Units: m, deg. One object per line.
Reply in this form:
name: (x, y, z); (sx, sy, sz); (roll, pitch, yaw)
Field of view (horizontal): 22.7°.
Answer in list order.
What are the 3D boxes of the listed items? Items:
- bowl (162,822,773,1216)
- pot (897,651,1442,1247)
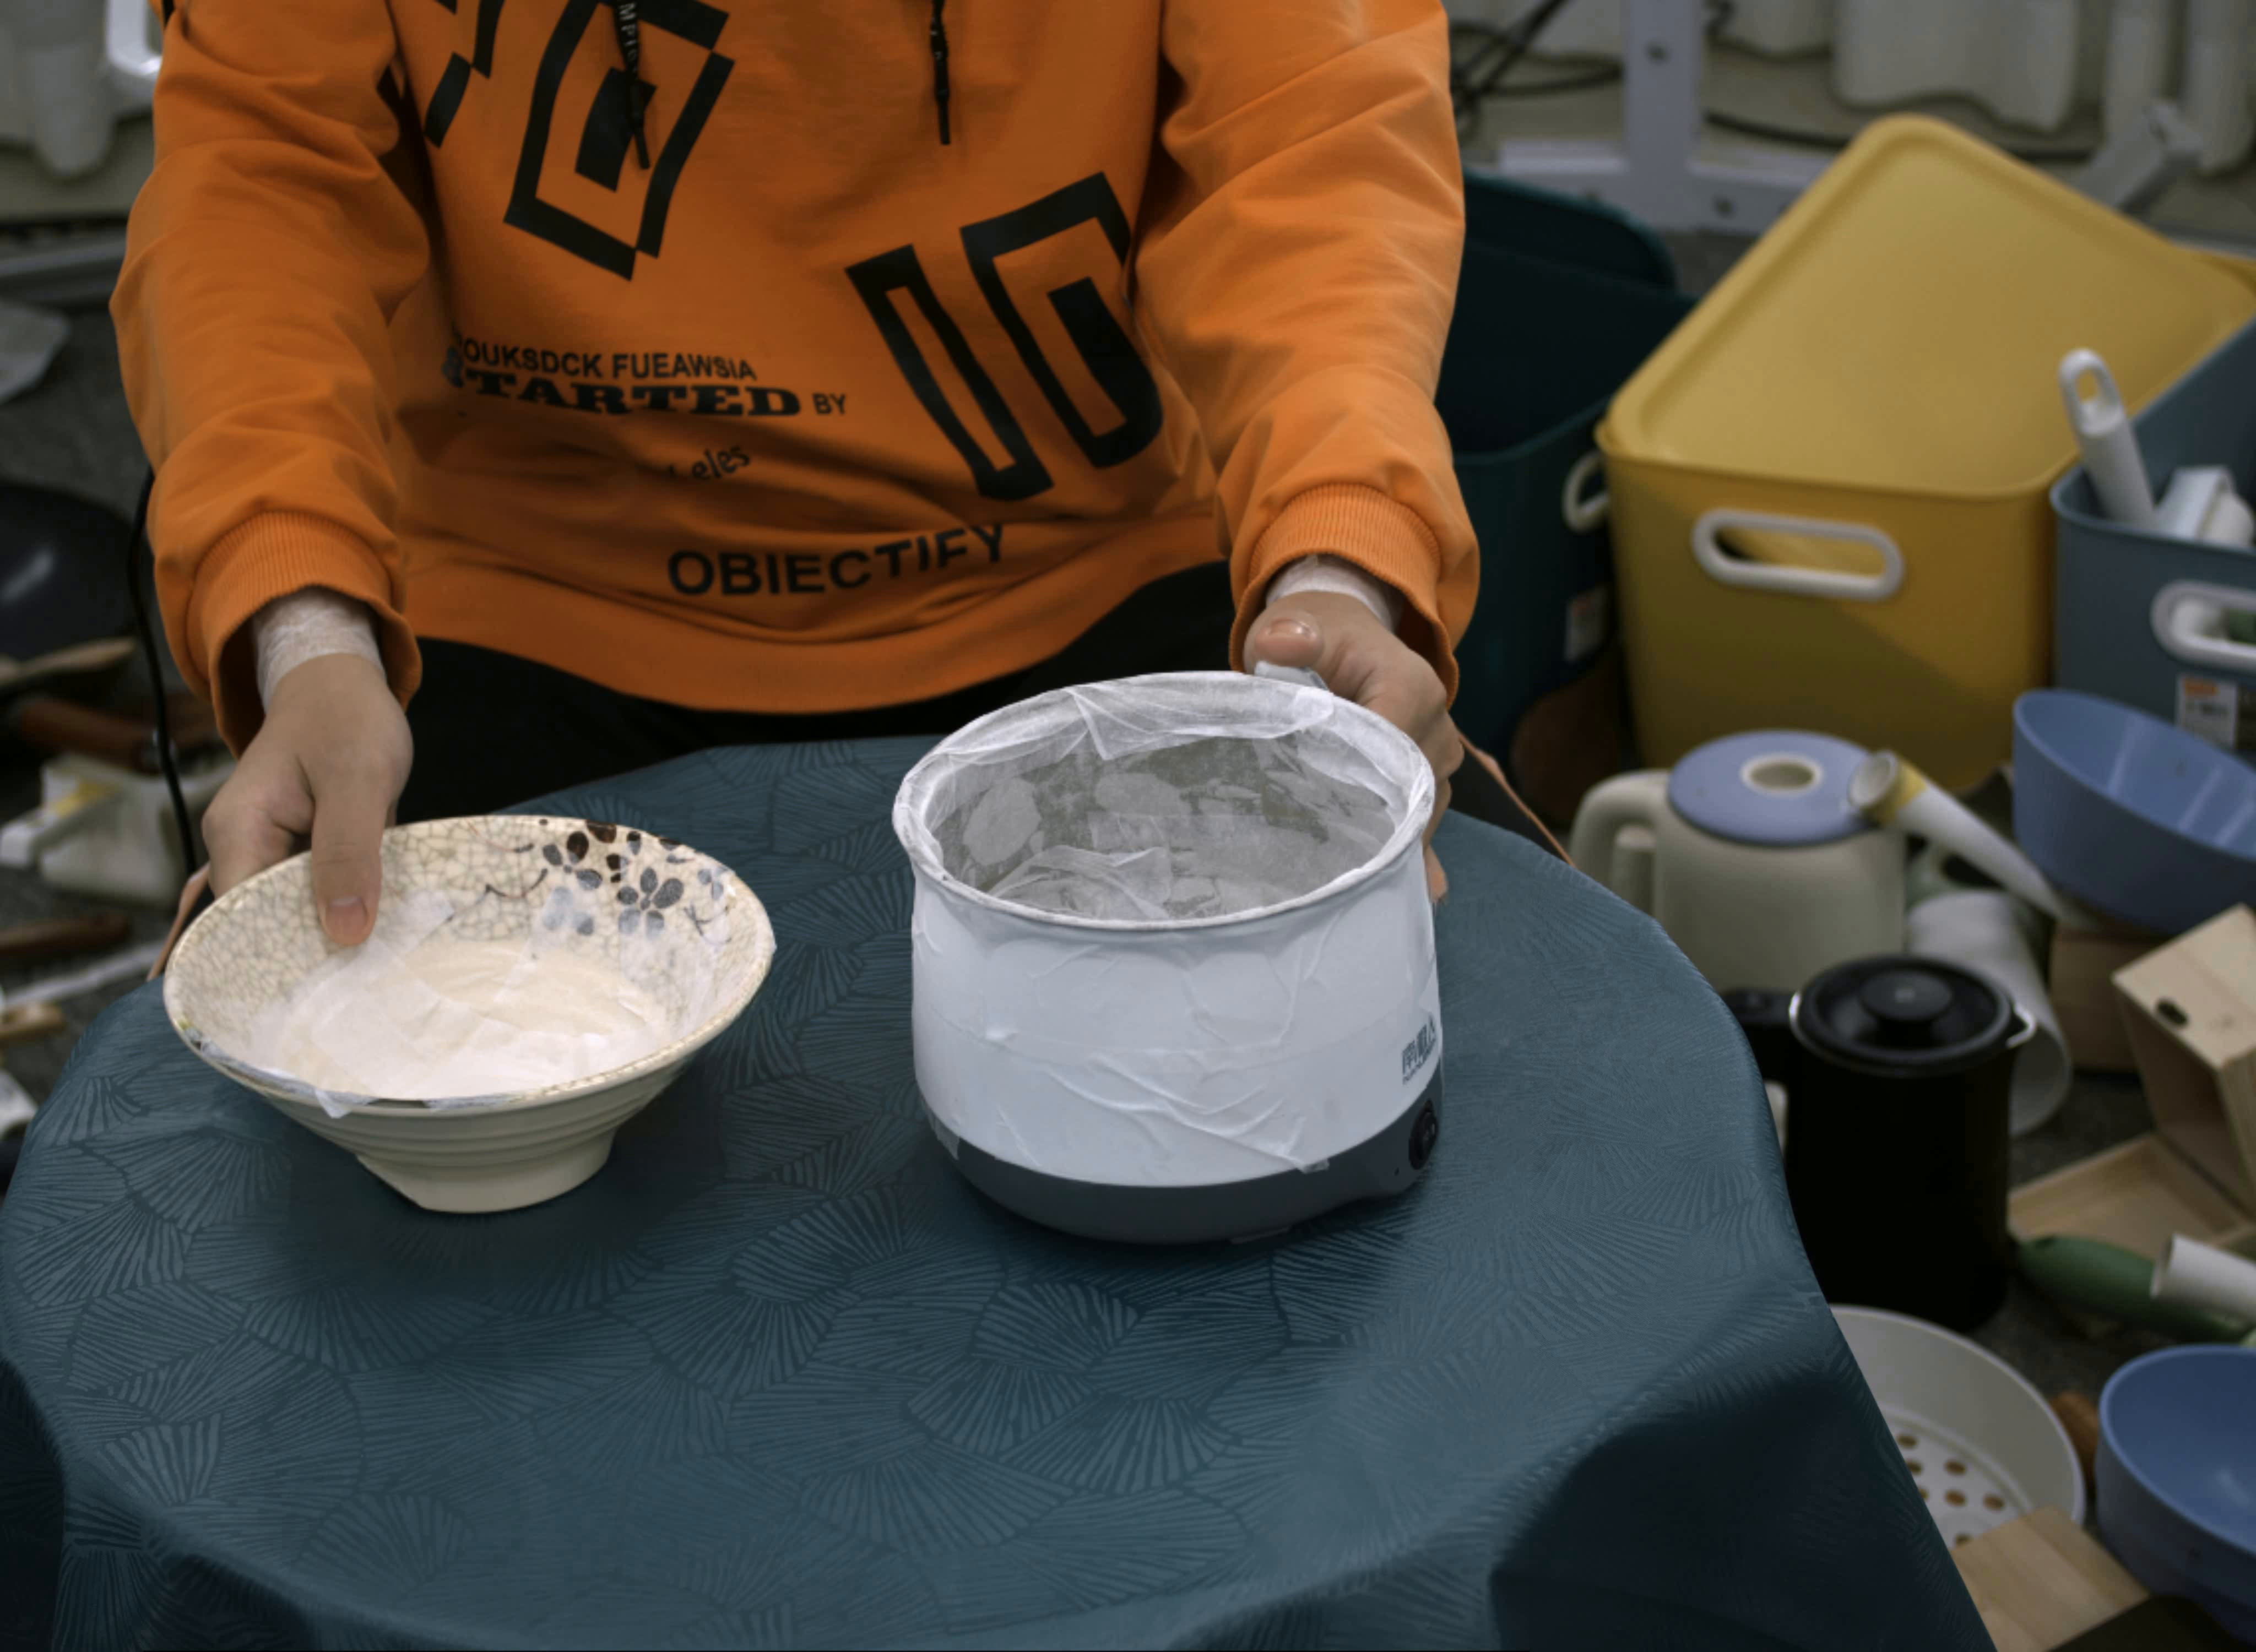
bowl: (-0.219, 0.077, 1.885); (0.203, 0.077, 0.207); (-1, 25, 1)
pot: (0.026, 0.033, 1.883); (0.177, 0.135, 0.238); (8, 29, 20)
